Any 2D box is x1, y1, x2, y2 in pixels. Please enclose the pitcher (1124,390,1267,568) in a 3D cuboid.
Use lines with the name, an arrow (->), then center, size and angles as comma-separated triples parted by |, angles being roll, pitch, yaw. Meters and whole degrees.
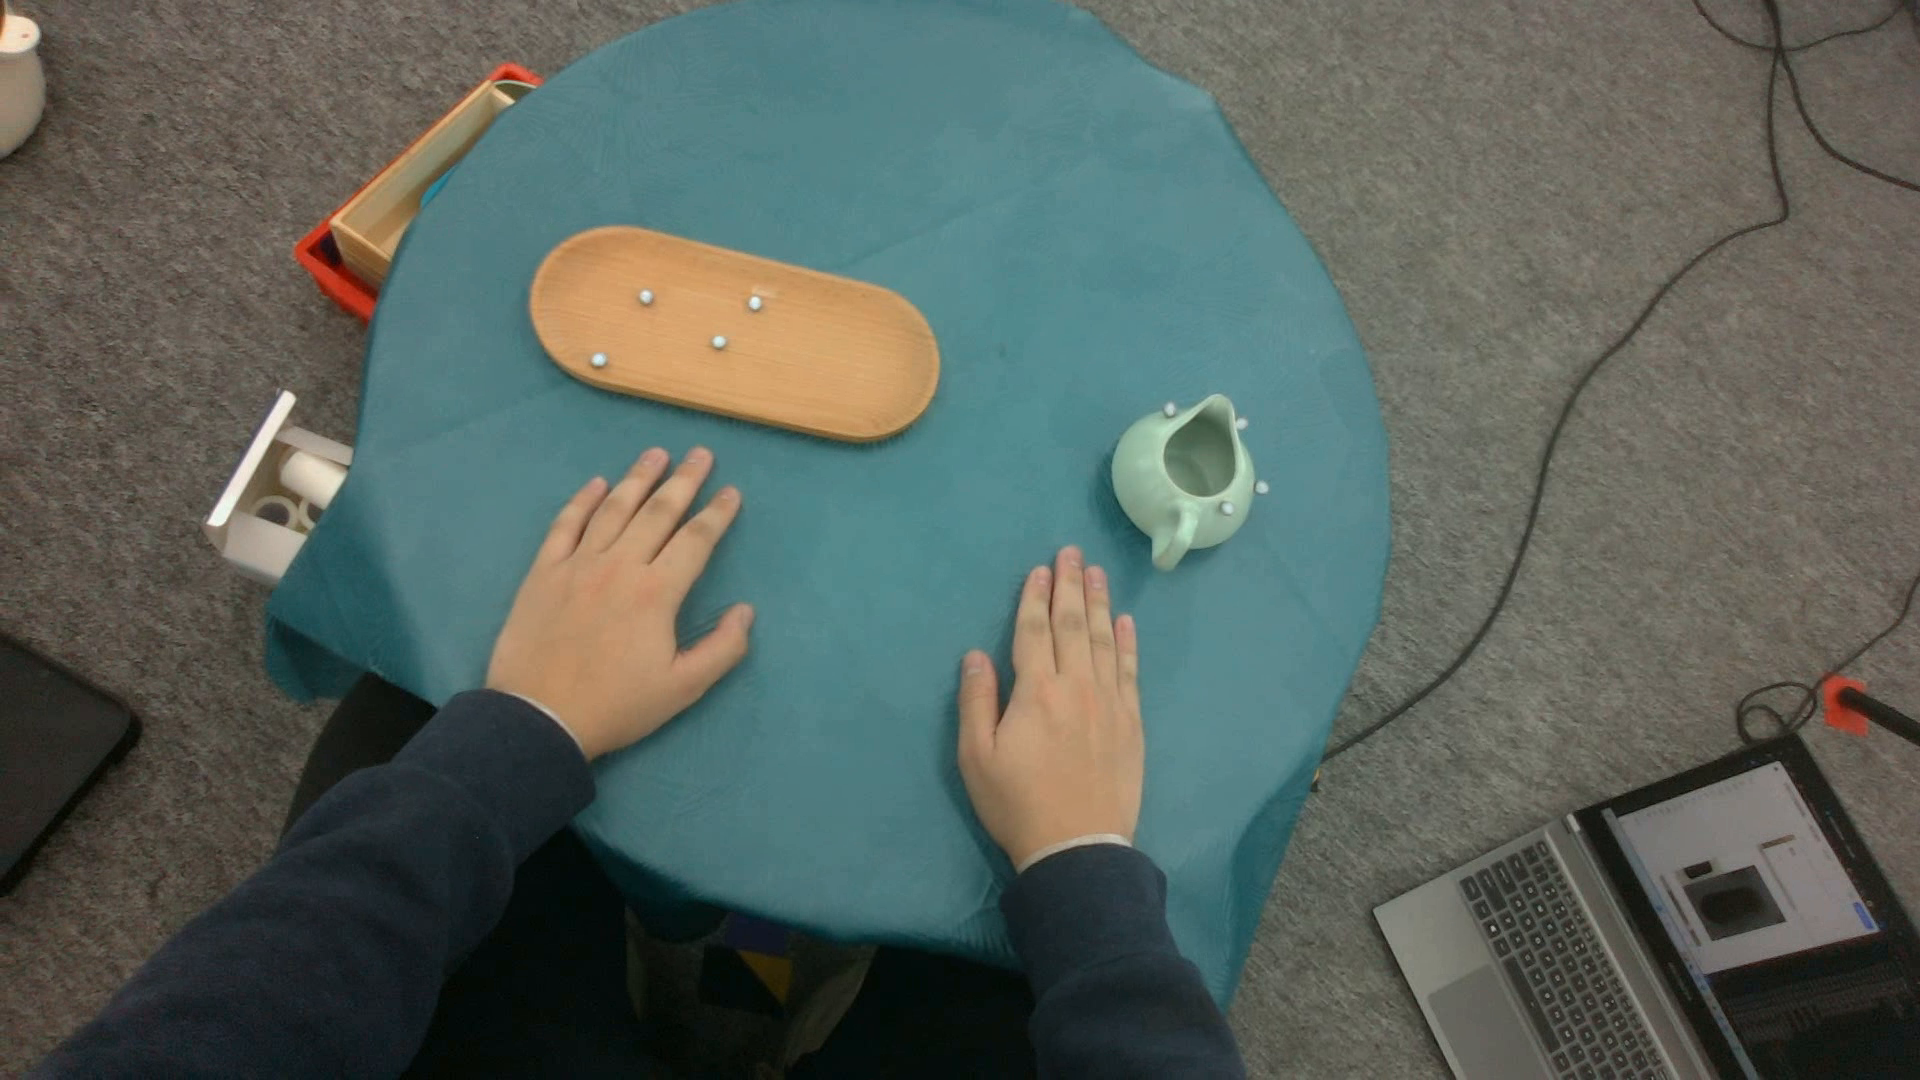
pitcher -> 0.137, -0.031, 0.801 | 0.086, 0.060, 0.108 | 19, 70, -3

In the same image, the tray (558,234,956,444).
tray -> -0.116, -0.116, 0.803 | 0.231, 0.020, 0.102 | 12, 69, -9
